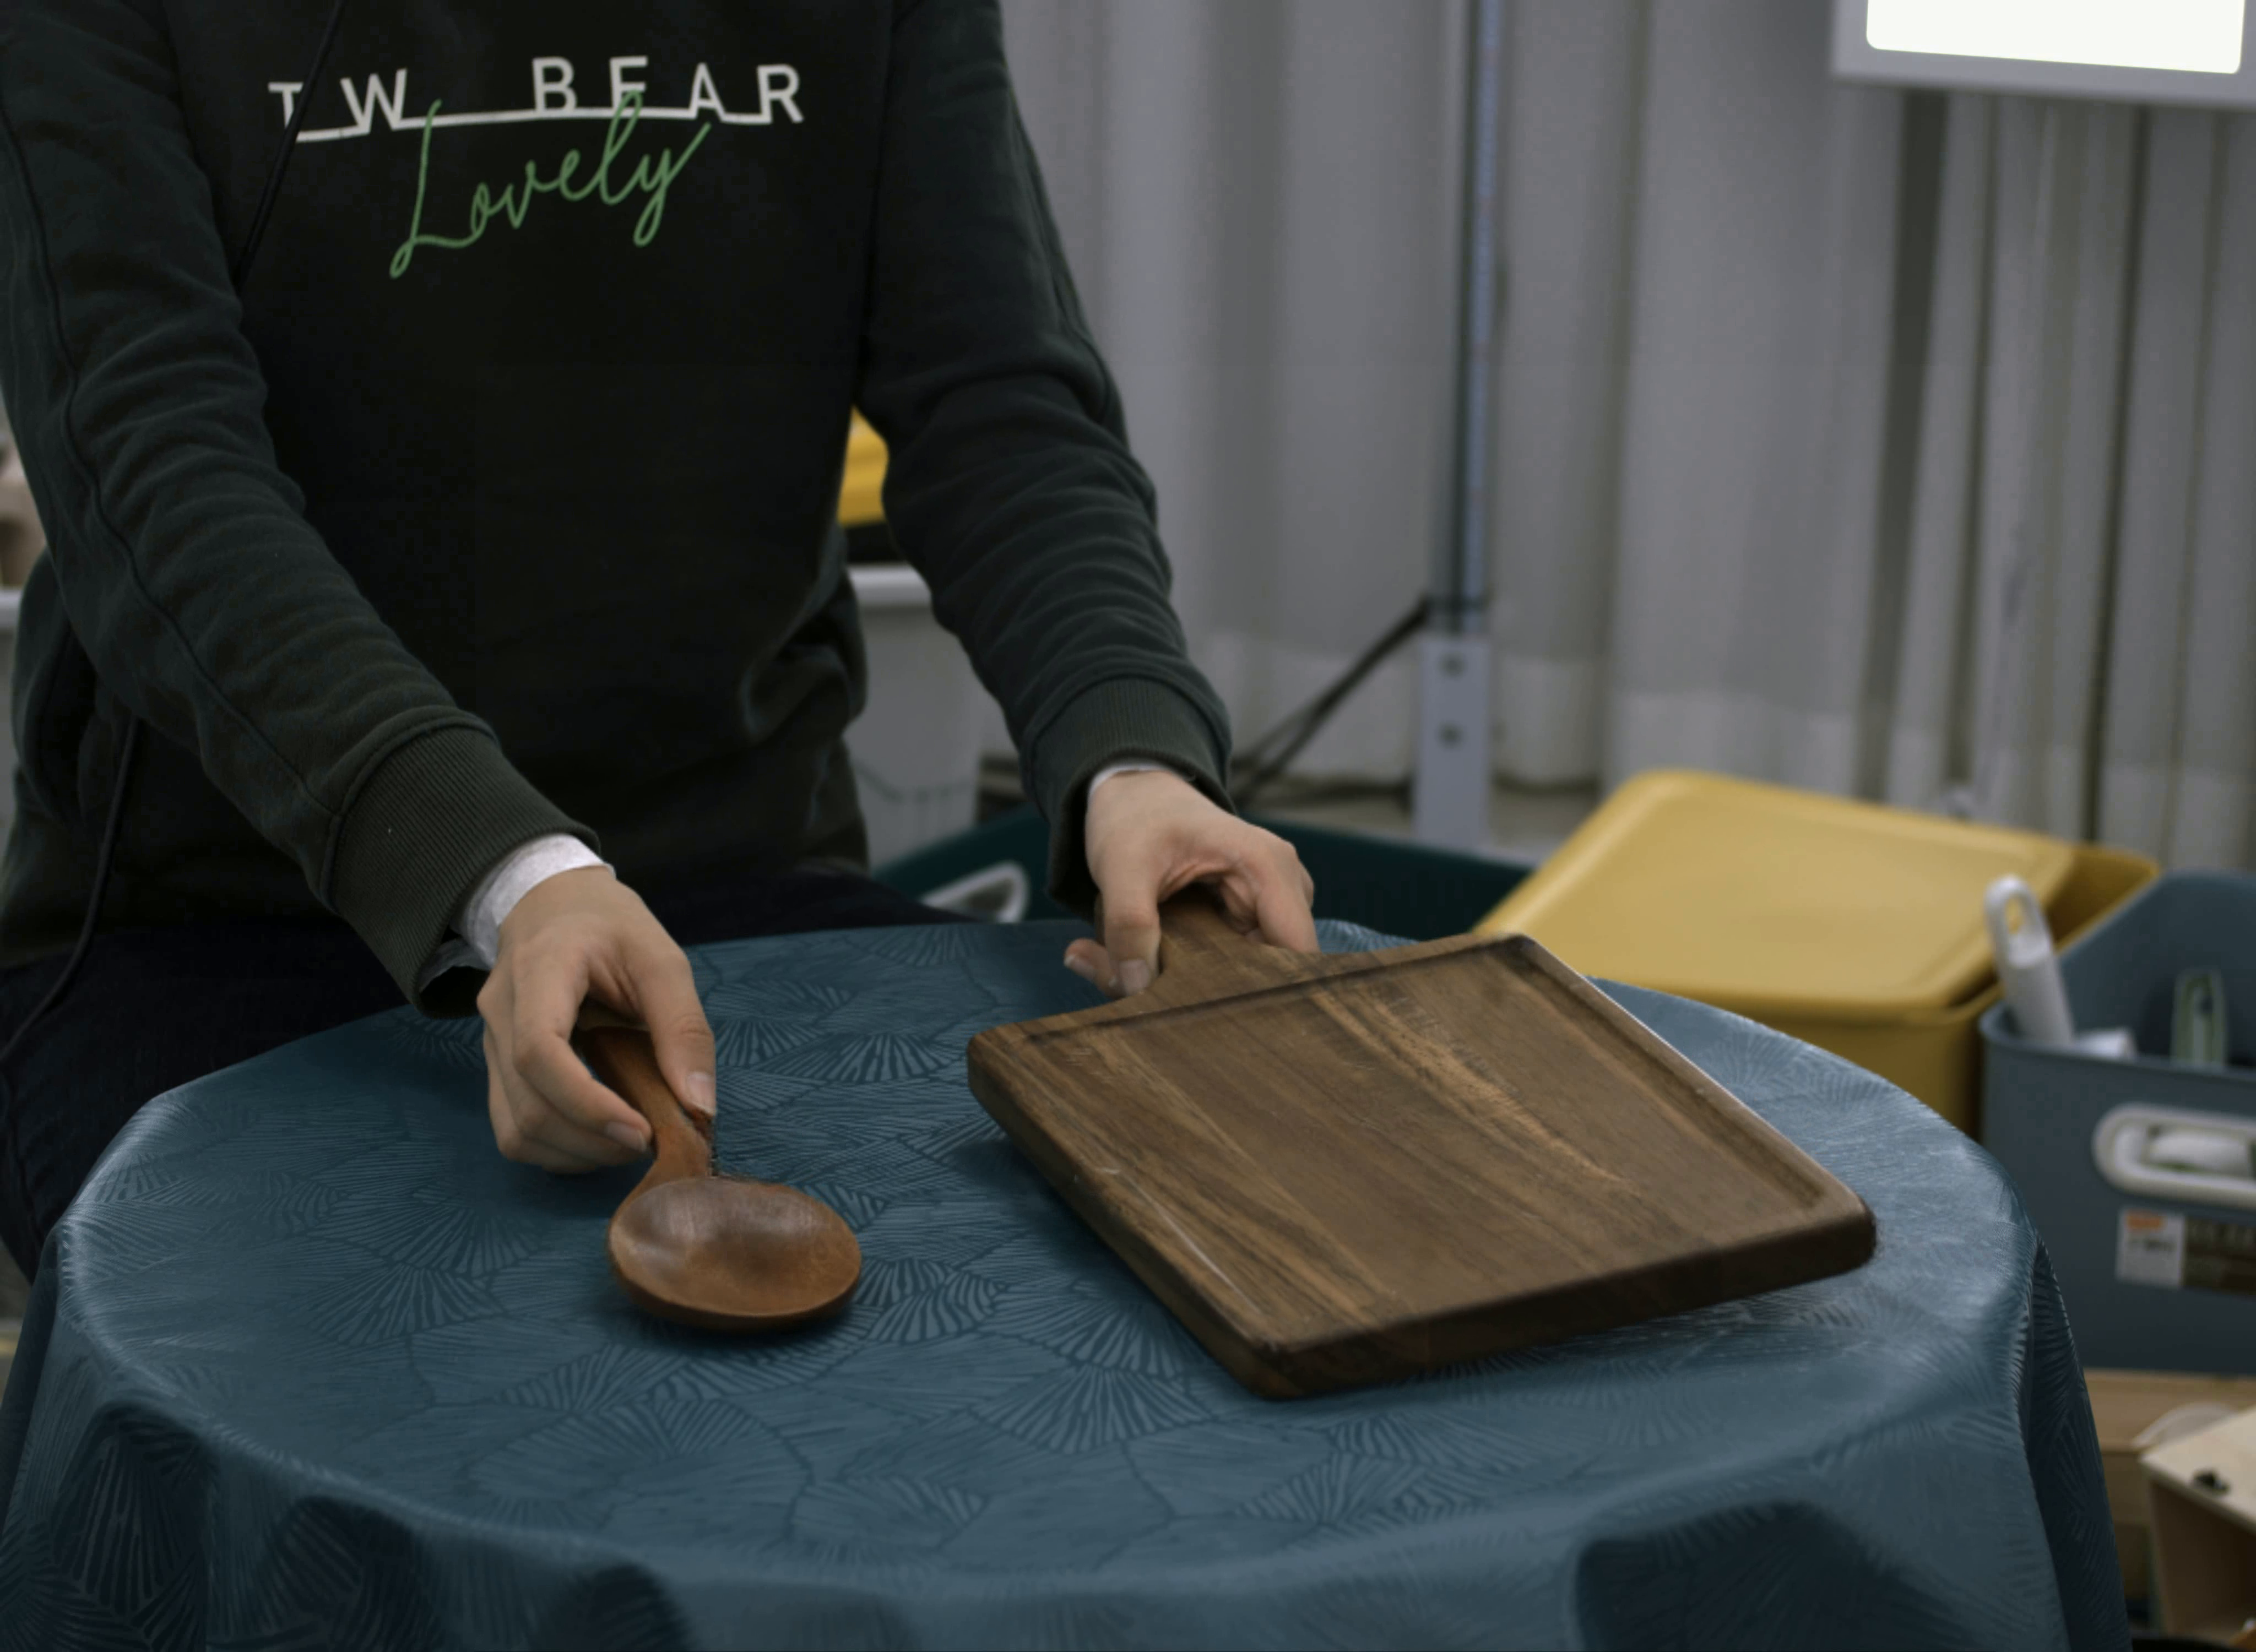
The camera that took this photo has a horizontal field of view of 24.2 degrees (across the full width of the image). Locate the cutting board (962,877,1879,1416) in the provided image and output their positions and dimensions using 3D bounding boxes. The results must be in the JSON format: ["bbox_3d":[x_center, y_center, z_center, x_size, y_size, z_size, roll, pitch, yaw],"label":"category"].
[{"bbox_3d":[0.065,0.082,1.635,0.201,0.023,0.348,-12,23,-19],"label":"cutting board"}]

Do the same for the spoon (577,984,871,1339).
[{"bbox_3d":[-0.132,0.101,1.583,0.075,0.017,0.213,-5,27,-17],"label":"spoon"}]
